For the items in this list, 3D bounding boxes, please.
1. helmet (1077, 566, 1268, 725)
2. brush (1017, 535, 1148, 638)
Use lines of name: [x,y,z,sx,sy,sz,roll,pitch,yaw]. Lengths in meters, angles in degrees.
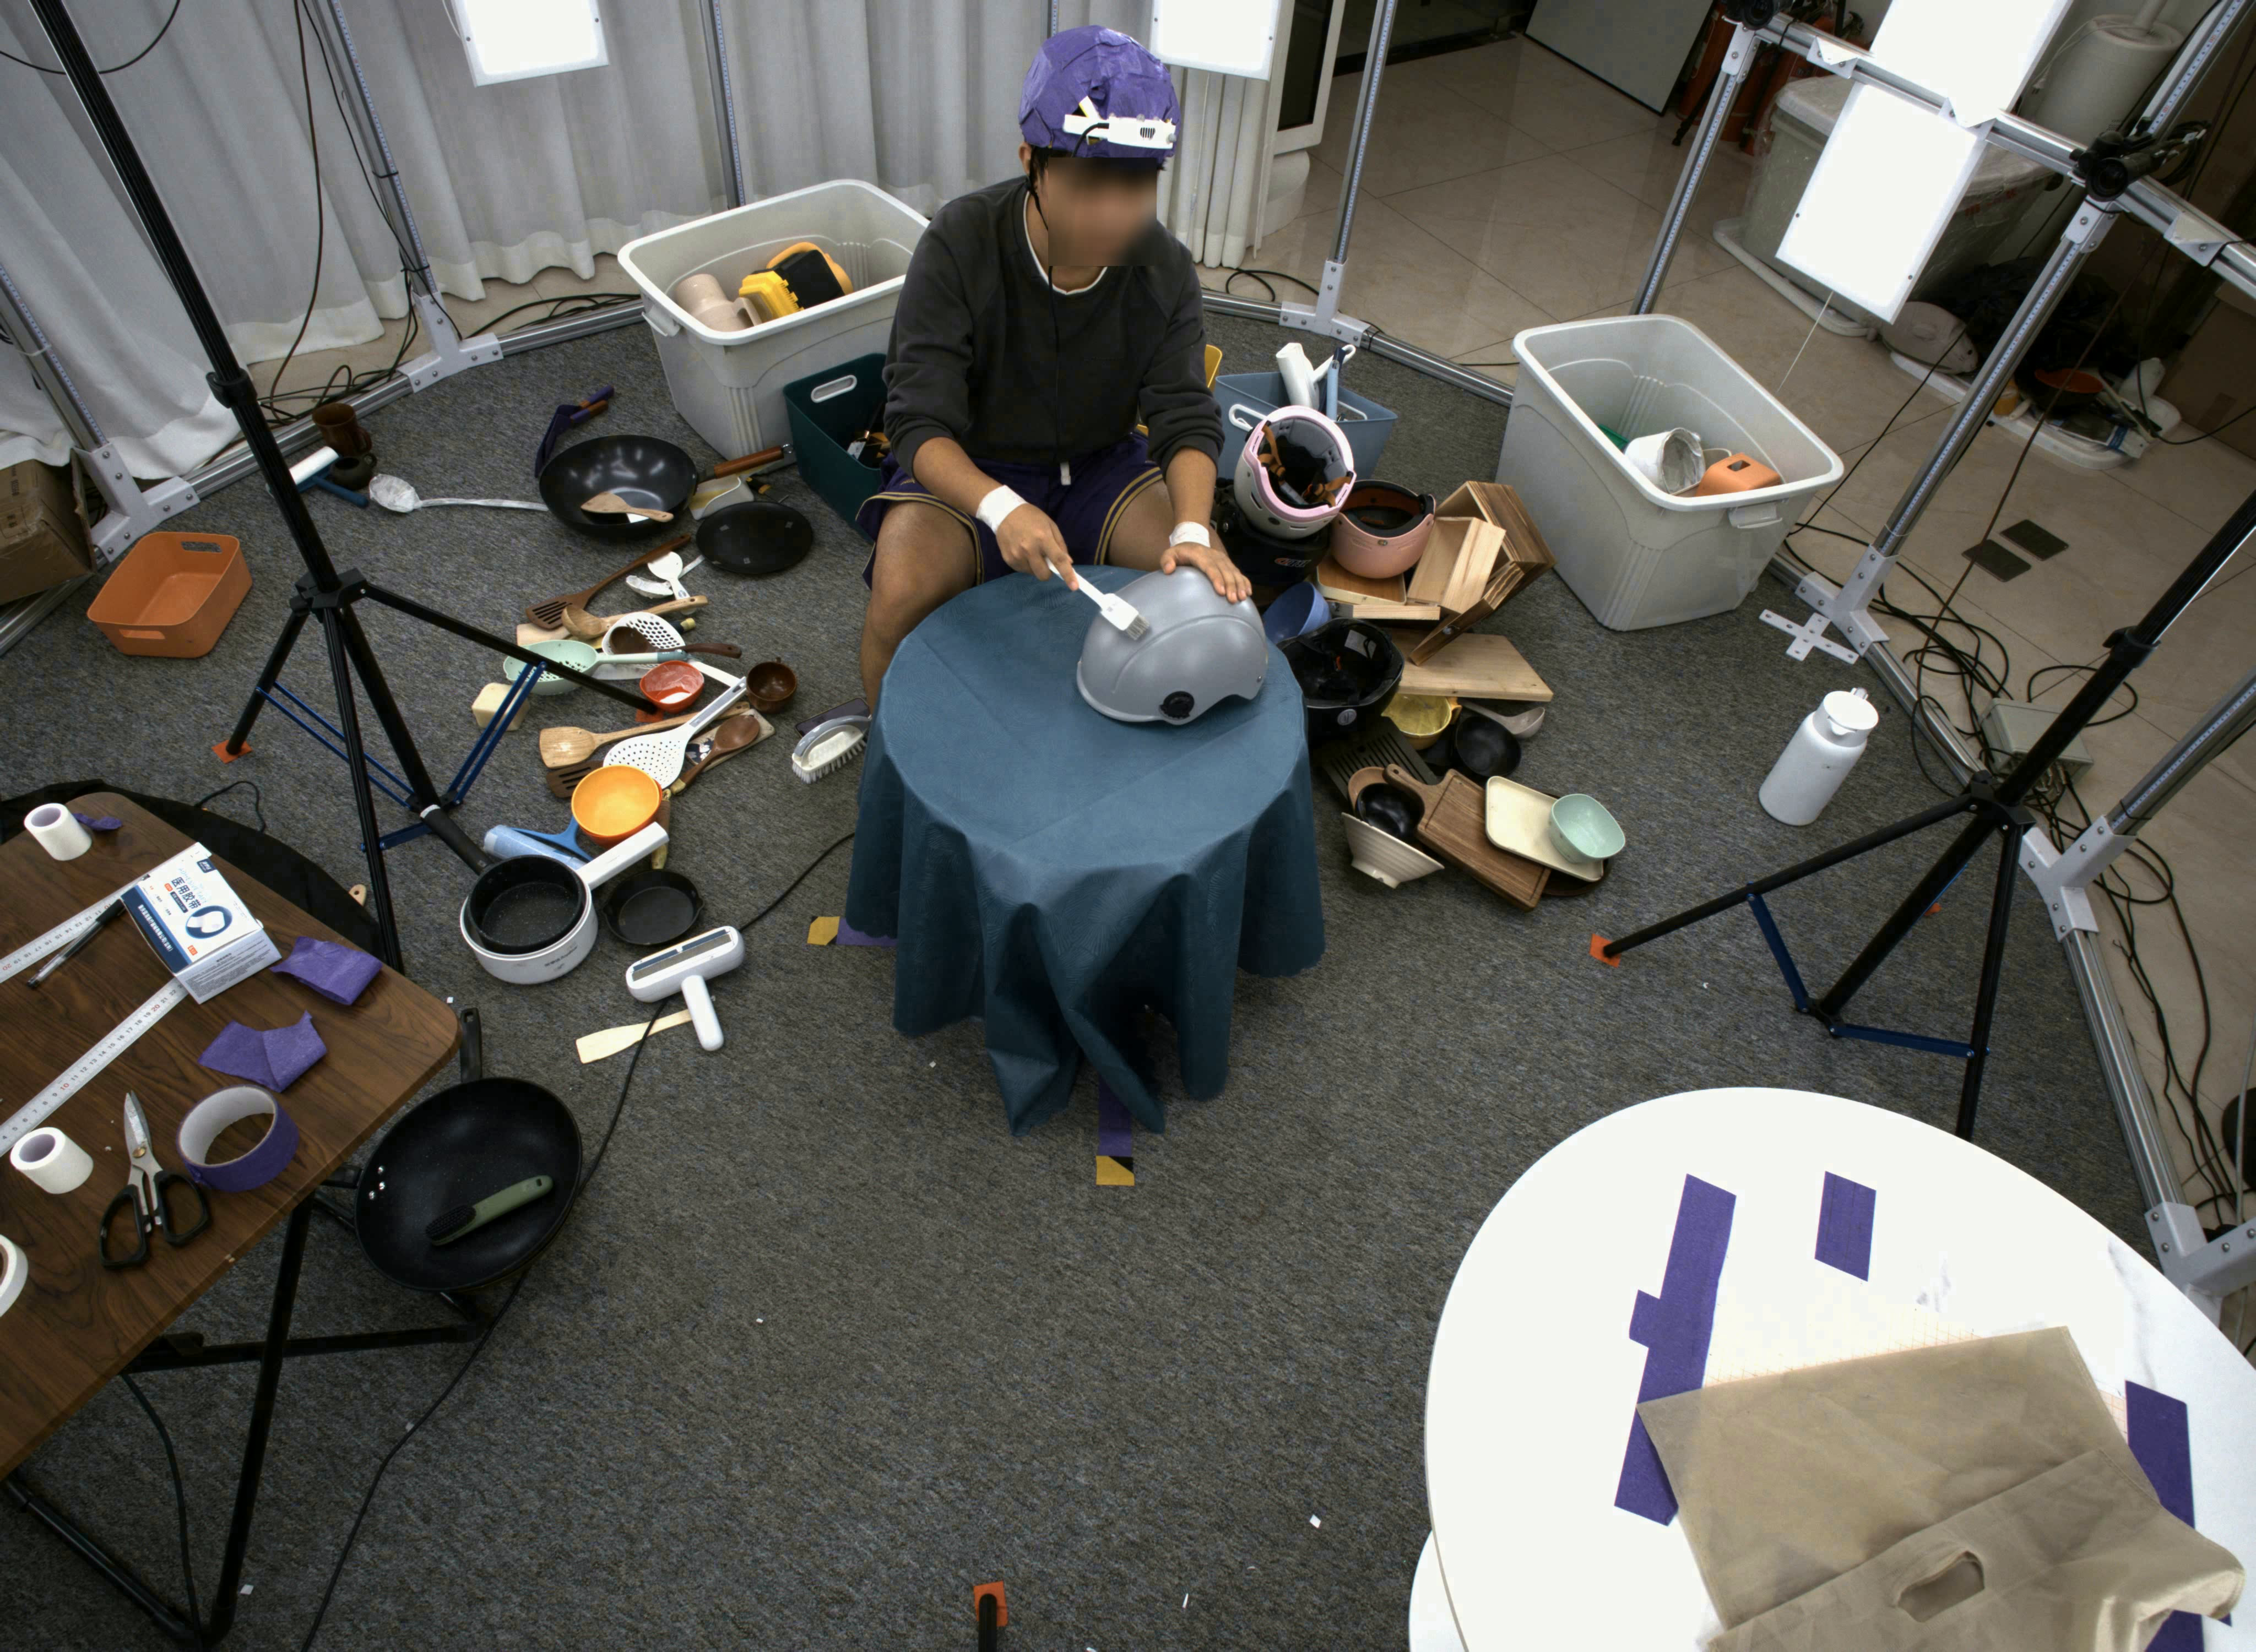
helmet: [0.064,-0.272,1.804,0.276,0.164,0.237,-15,50,-14]
brush: [-0.063,-0.329,1.761,0.248,0.049,0.034,40,92,32]
